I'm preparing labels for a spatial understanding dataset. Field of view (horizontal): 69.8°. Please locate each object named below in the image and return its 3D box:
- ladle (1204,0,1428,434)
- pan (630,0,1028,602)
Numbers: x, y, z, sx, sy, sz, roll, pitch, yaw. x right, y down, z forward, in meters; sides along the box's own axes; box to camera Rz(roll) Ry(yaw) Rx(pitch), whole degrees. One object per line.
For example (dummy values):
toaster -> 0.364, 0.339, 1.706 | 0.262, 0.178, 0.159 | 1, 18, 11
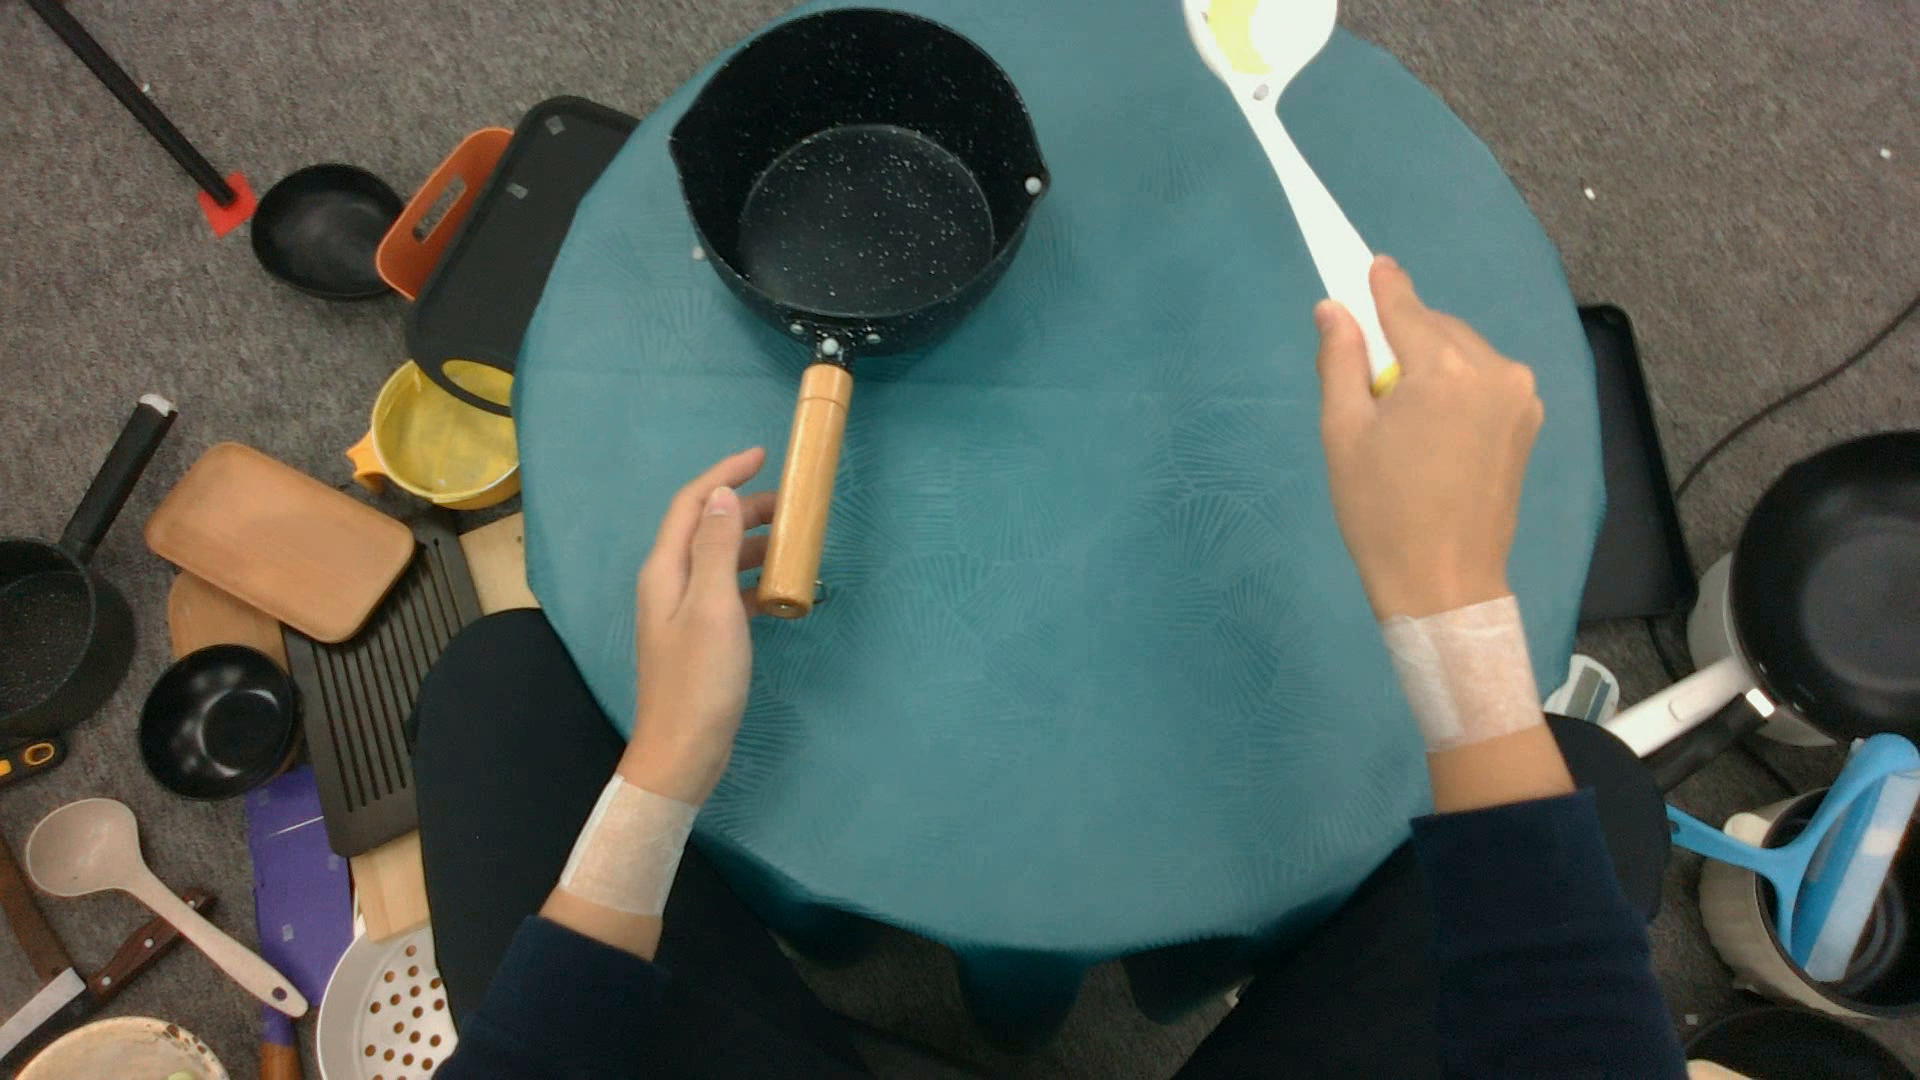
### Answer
ladle -> 0.175, -0.183, 0.658 | 0.090, 0.069, 0.294 | 12, 50, -25
pan -> -0.074, -0.122, 0.715 | 0.207, 0.108, 0.344 | 5, 72, -1
